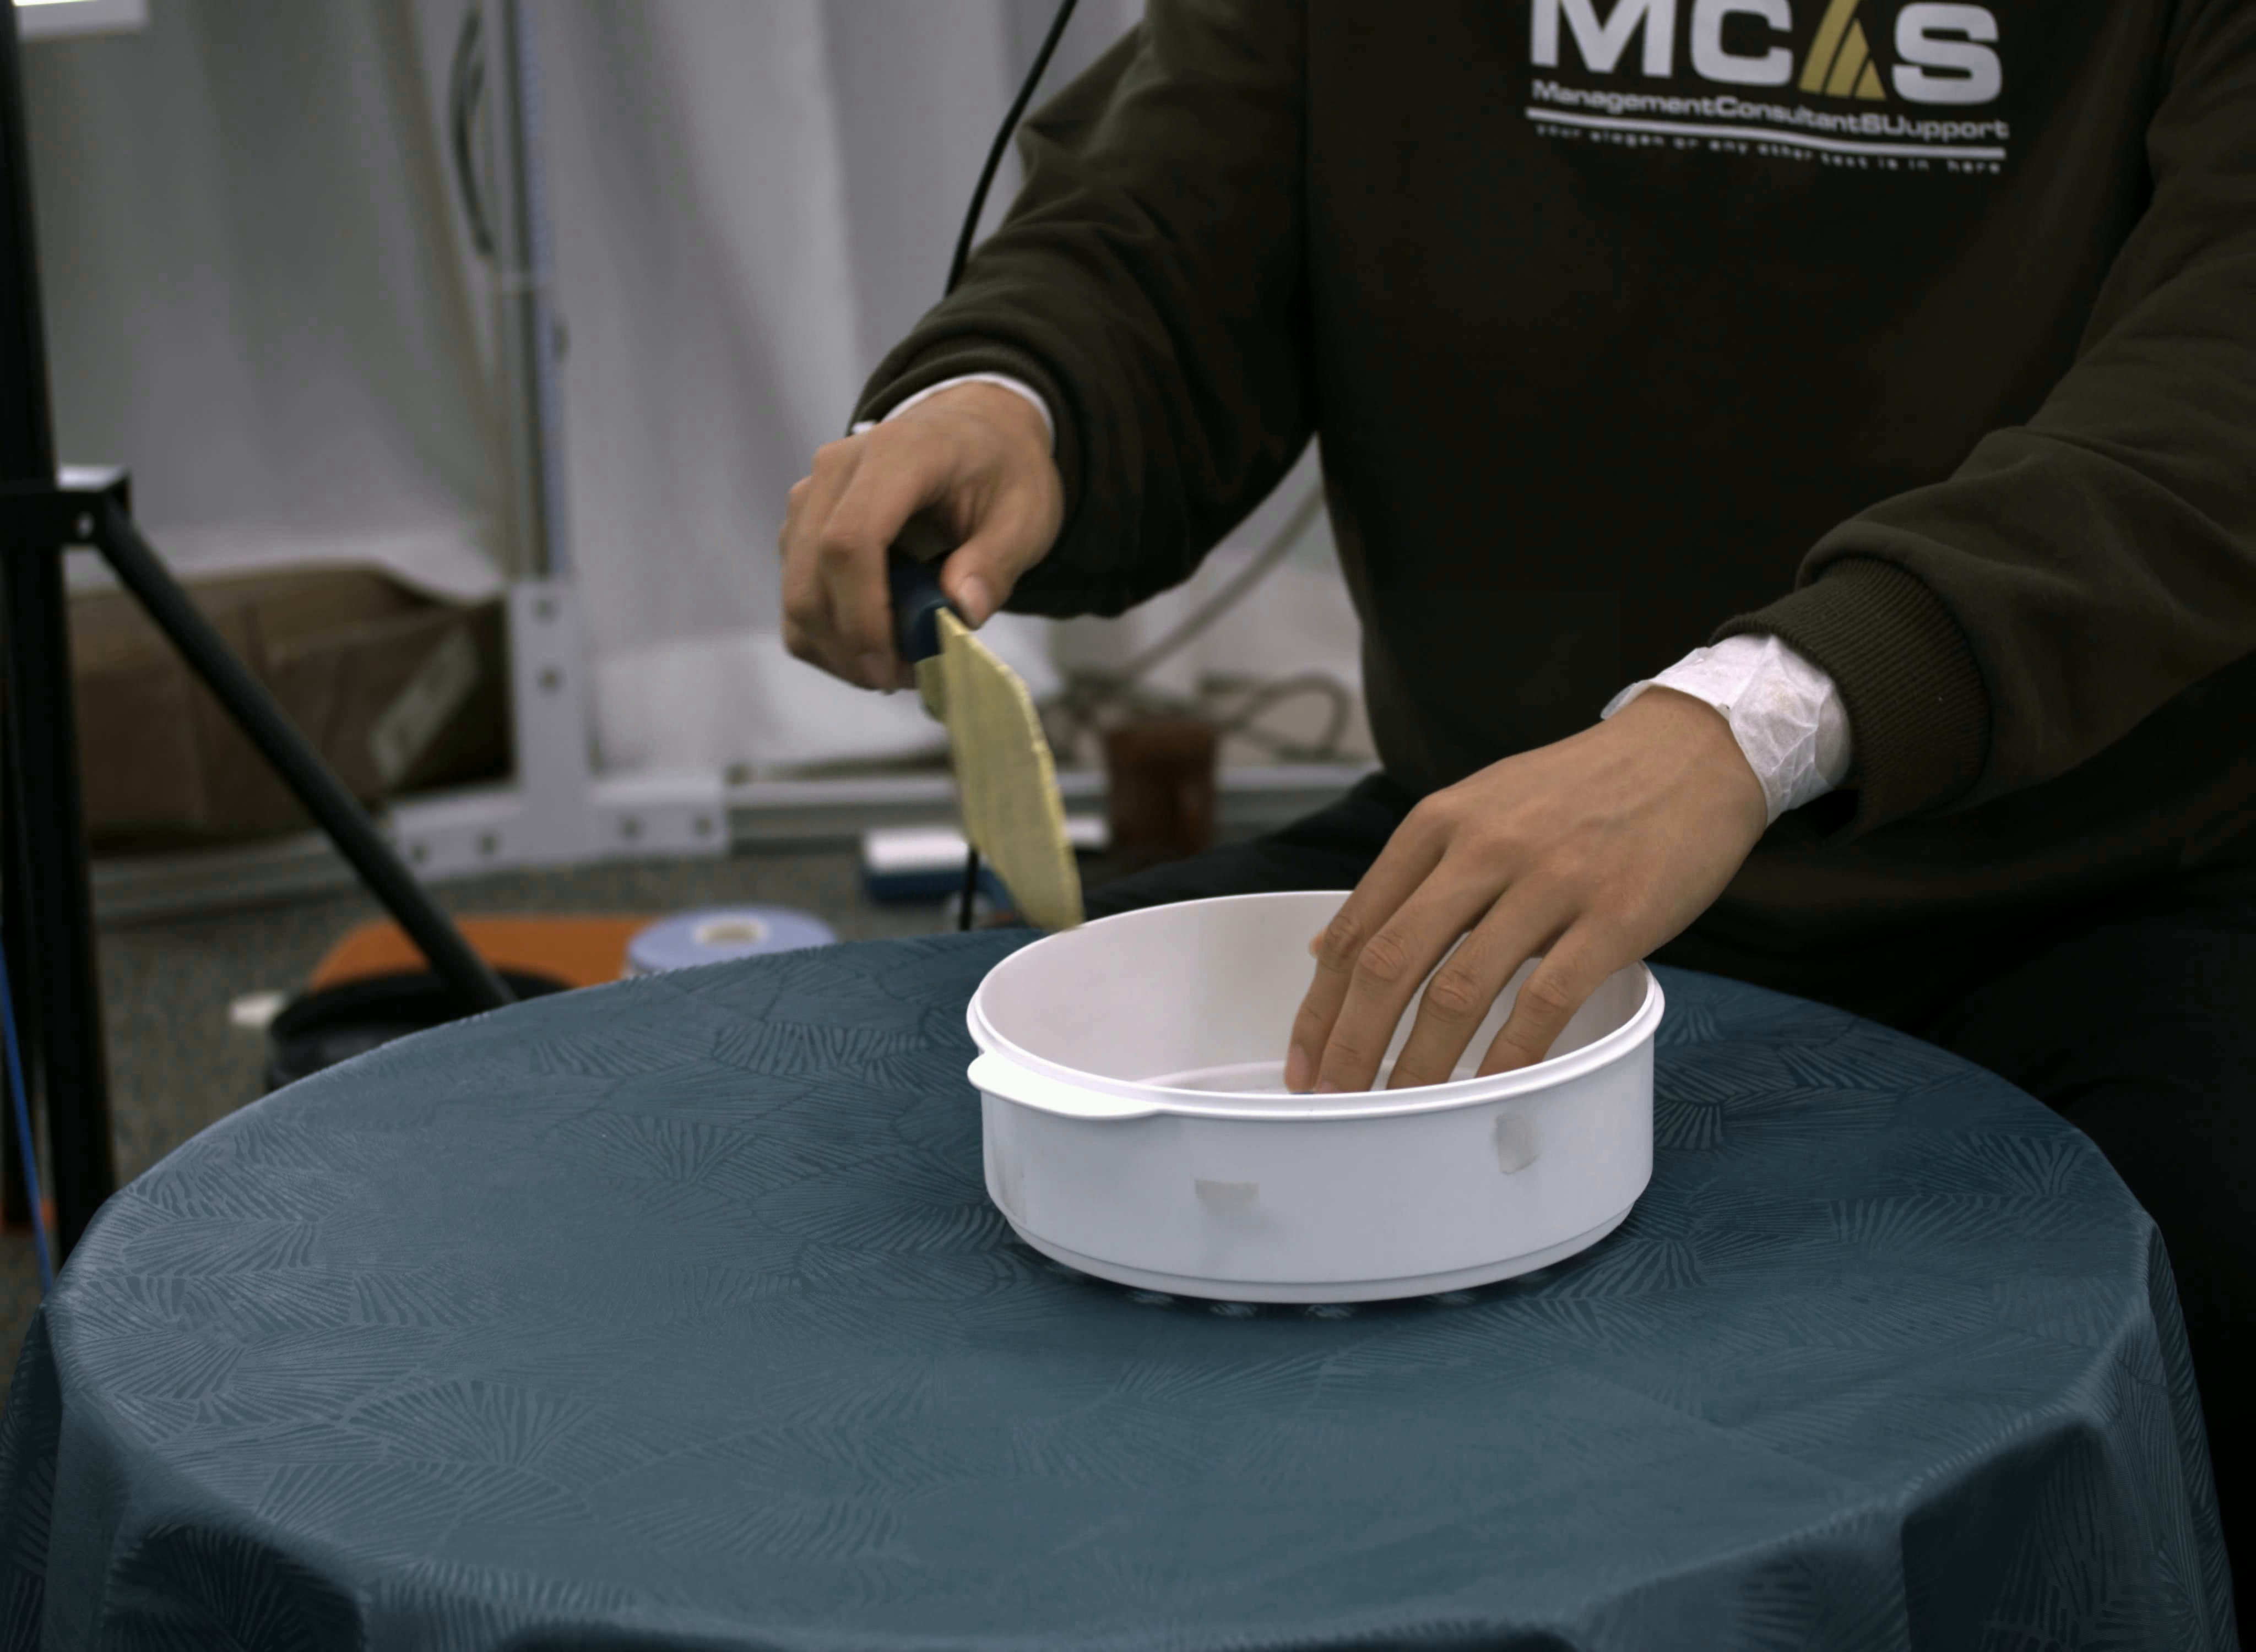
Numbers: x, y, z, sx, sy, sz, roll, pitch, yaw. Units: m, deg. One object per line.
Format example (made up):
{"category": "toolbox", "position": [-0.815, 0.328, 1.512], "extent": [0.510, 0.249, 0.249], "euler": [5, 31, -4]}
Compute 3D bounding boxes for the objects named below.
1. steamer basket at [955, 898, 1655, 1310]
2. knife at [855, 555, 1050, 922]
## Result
{"category": "steamer basket", "position": [0.051, 0.080, 1.531], "extent": [0.225, 0.069, 0.206], "euler": [-14, 20, -39]}
{"category": "knife", "position": [-0.050, -0.030, 1.588], "extent": [0.027, 0.081, 0.293], "euler": [-6, 17, -10]}
